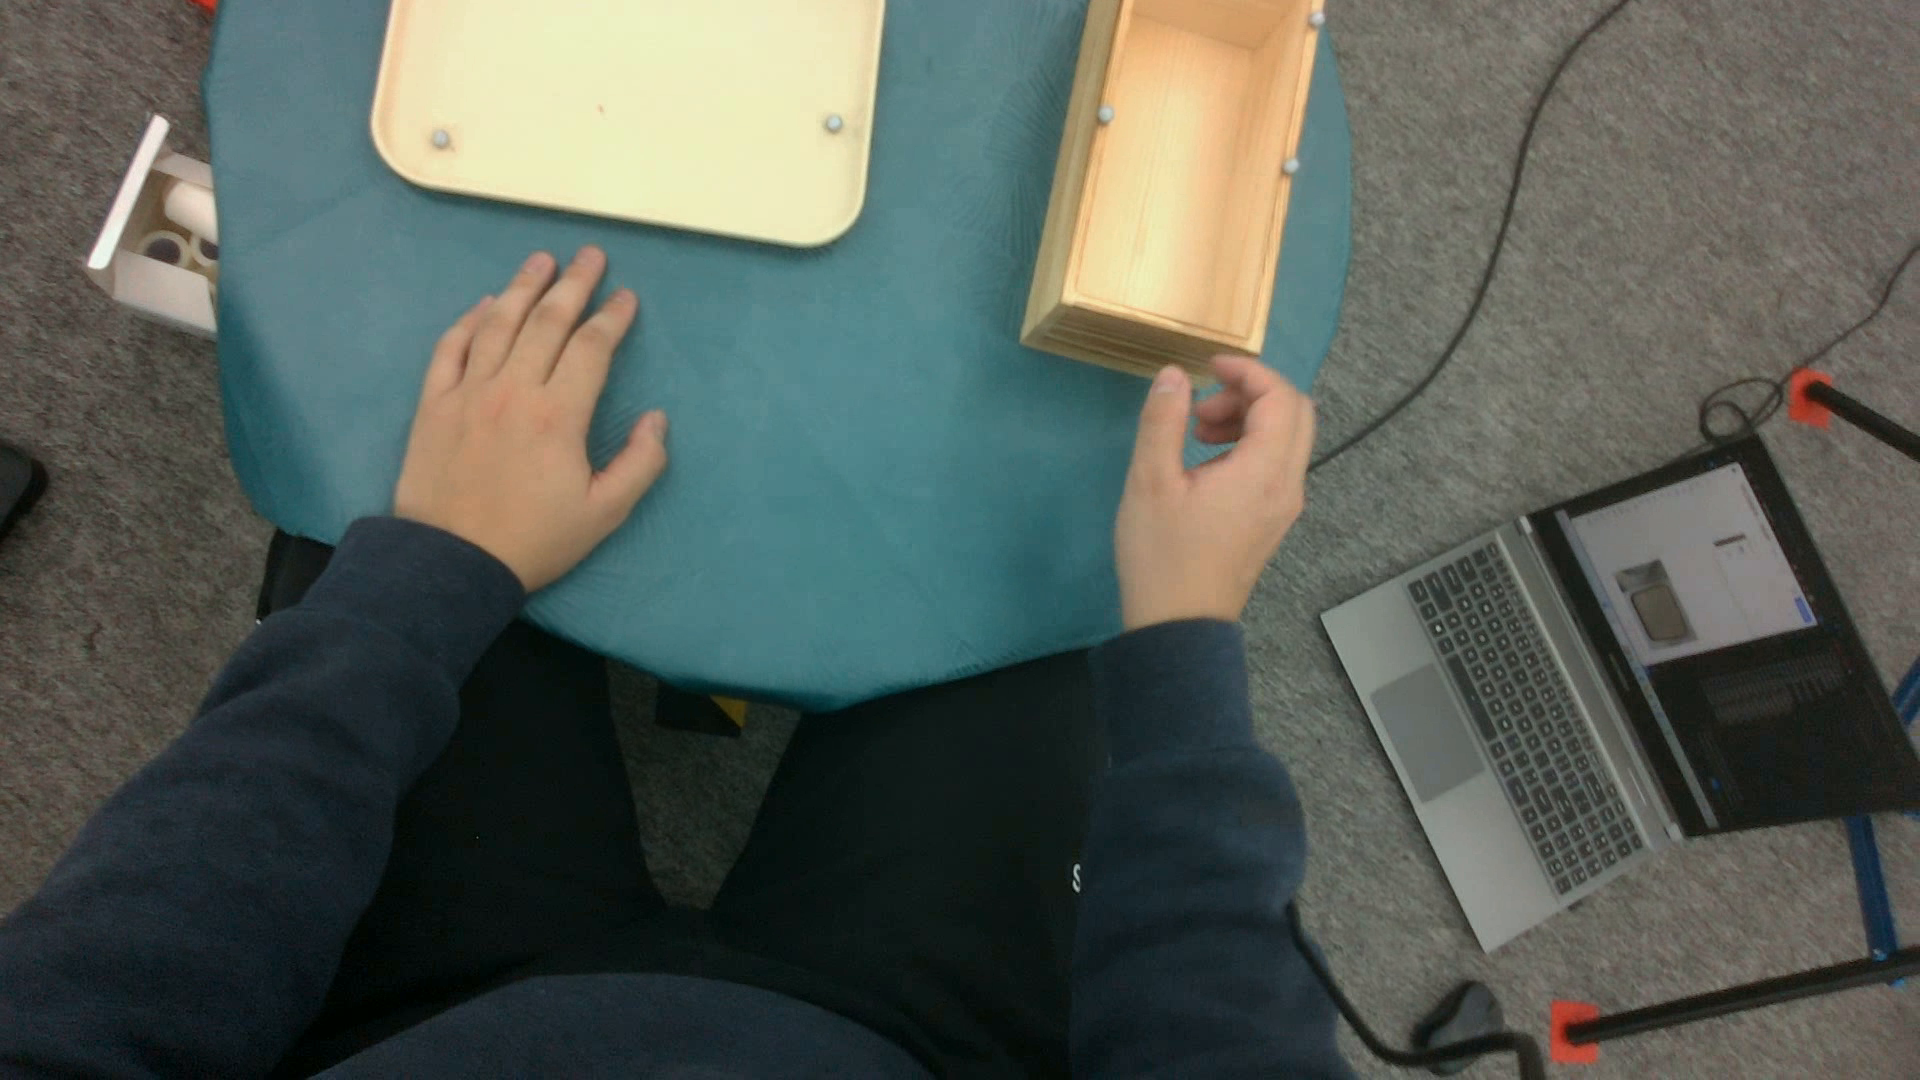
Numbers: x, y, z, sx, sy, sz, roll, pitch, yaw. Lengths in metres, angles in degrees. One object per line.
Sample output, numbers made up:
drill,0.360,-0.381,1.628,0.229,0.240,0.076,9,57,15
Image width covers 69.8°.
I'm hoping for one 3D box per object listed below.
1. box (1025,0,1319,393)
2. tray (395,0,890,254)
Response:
box,0.113,-0.198,0.735,0.107,0.080,0.212,13,80,-9
tray,-0.160,-0.241,0.717,0.240,0.017,0.171,6,81,-11
